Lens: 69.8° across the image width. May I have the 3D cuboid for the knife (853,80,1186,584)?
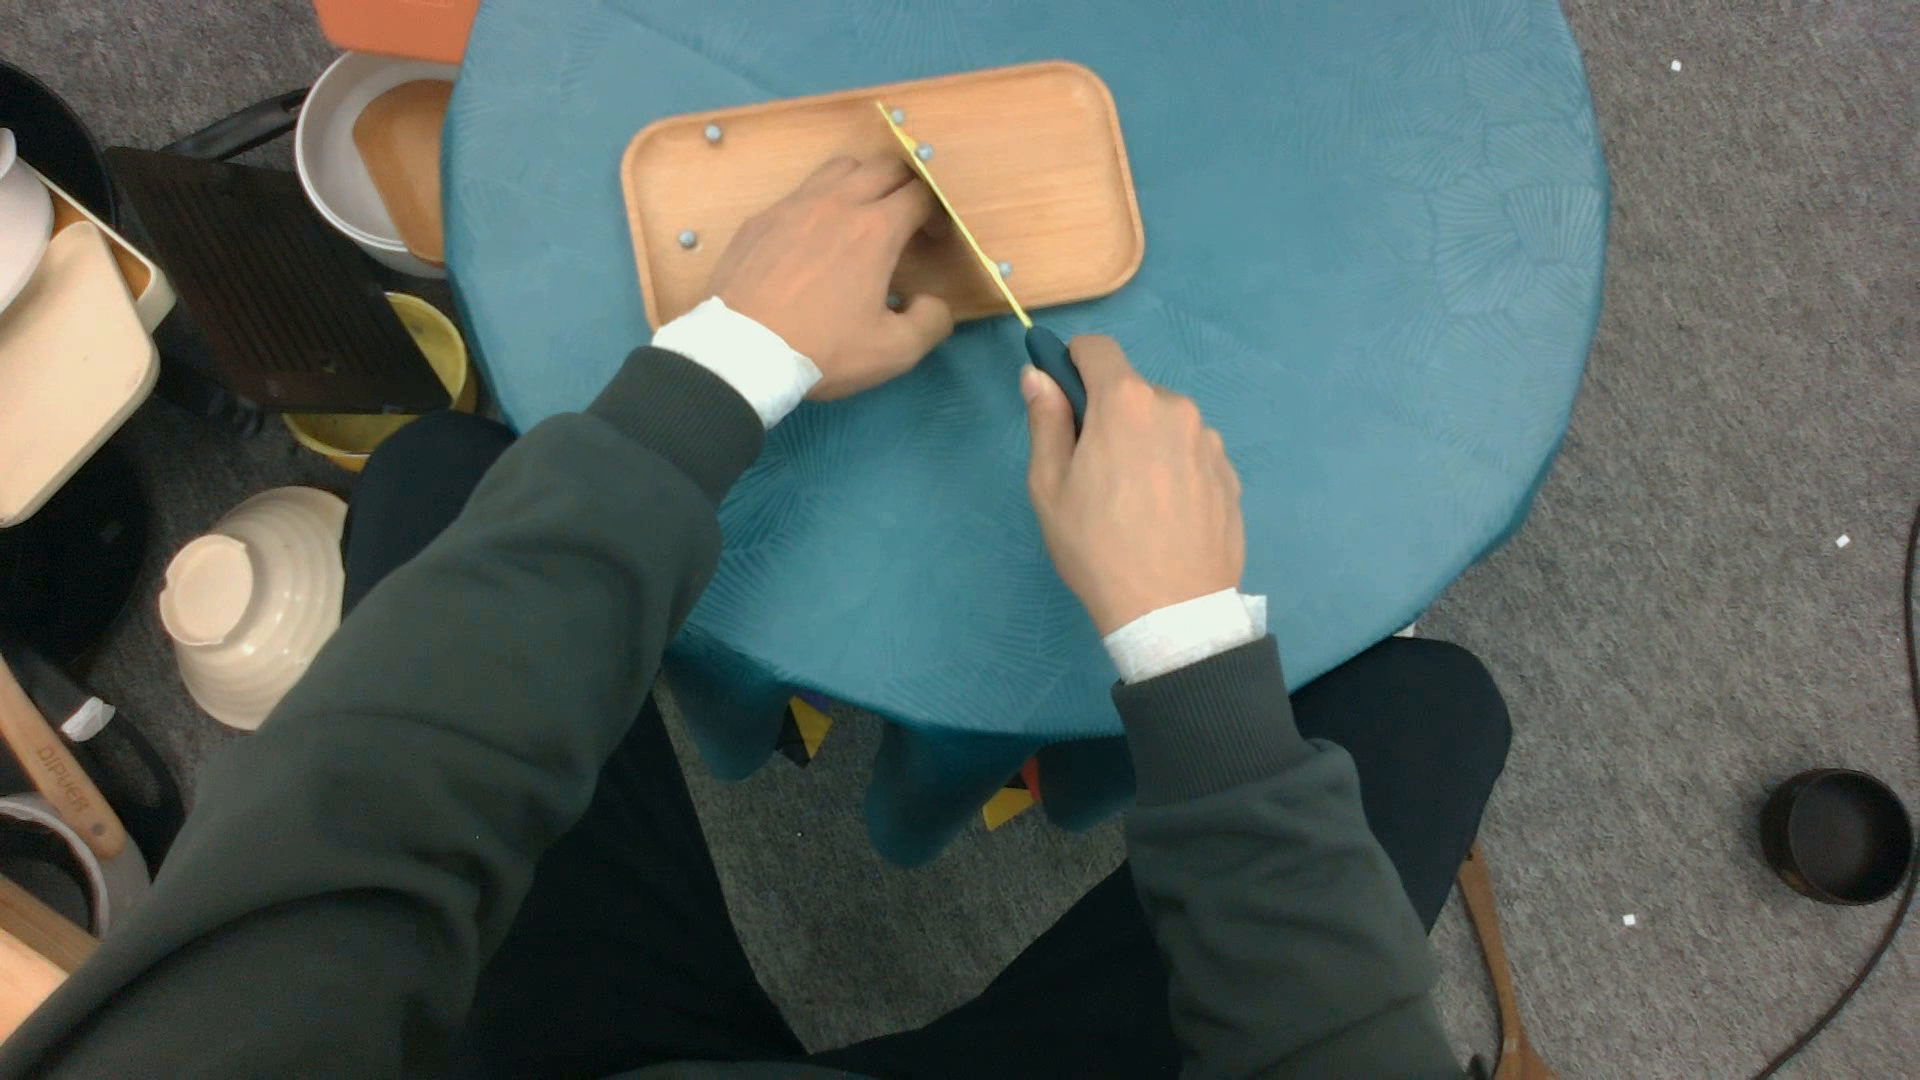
[{"bbox_3d":[0.022,-0.103,0.640,0.027,0.081,0.290,-33,76,9],"label":"knife"}]

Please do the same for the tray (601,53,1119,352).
[{"bbox_3d":[-0.048,-0.172,0.696,0.251,0.023,0.130,-11,84,-11],"label":"tray"}]
